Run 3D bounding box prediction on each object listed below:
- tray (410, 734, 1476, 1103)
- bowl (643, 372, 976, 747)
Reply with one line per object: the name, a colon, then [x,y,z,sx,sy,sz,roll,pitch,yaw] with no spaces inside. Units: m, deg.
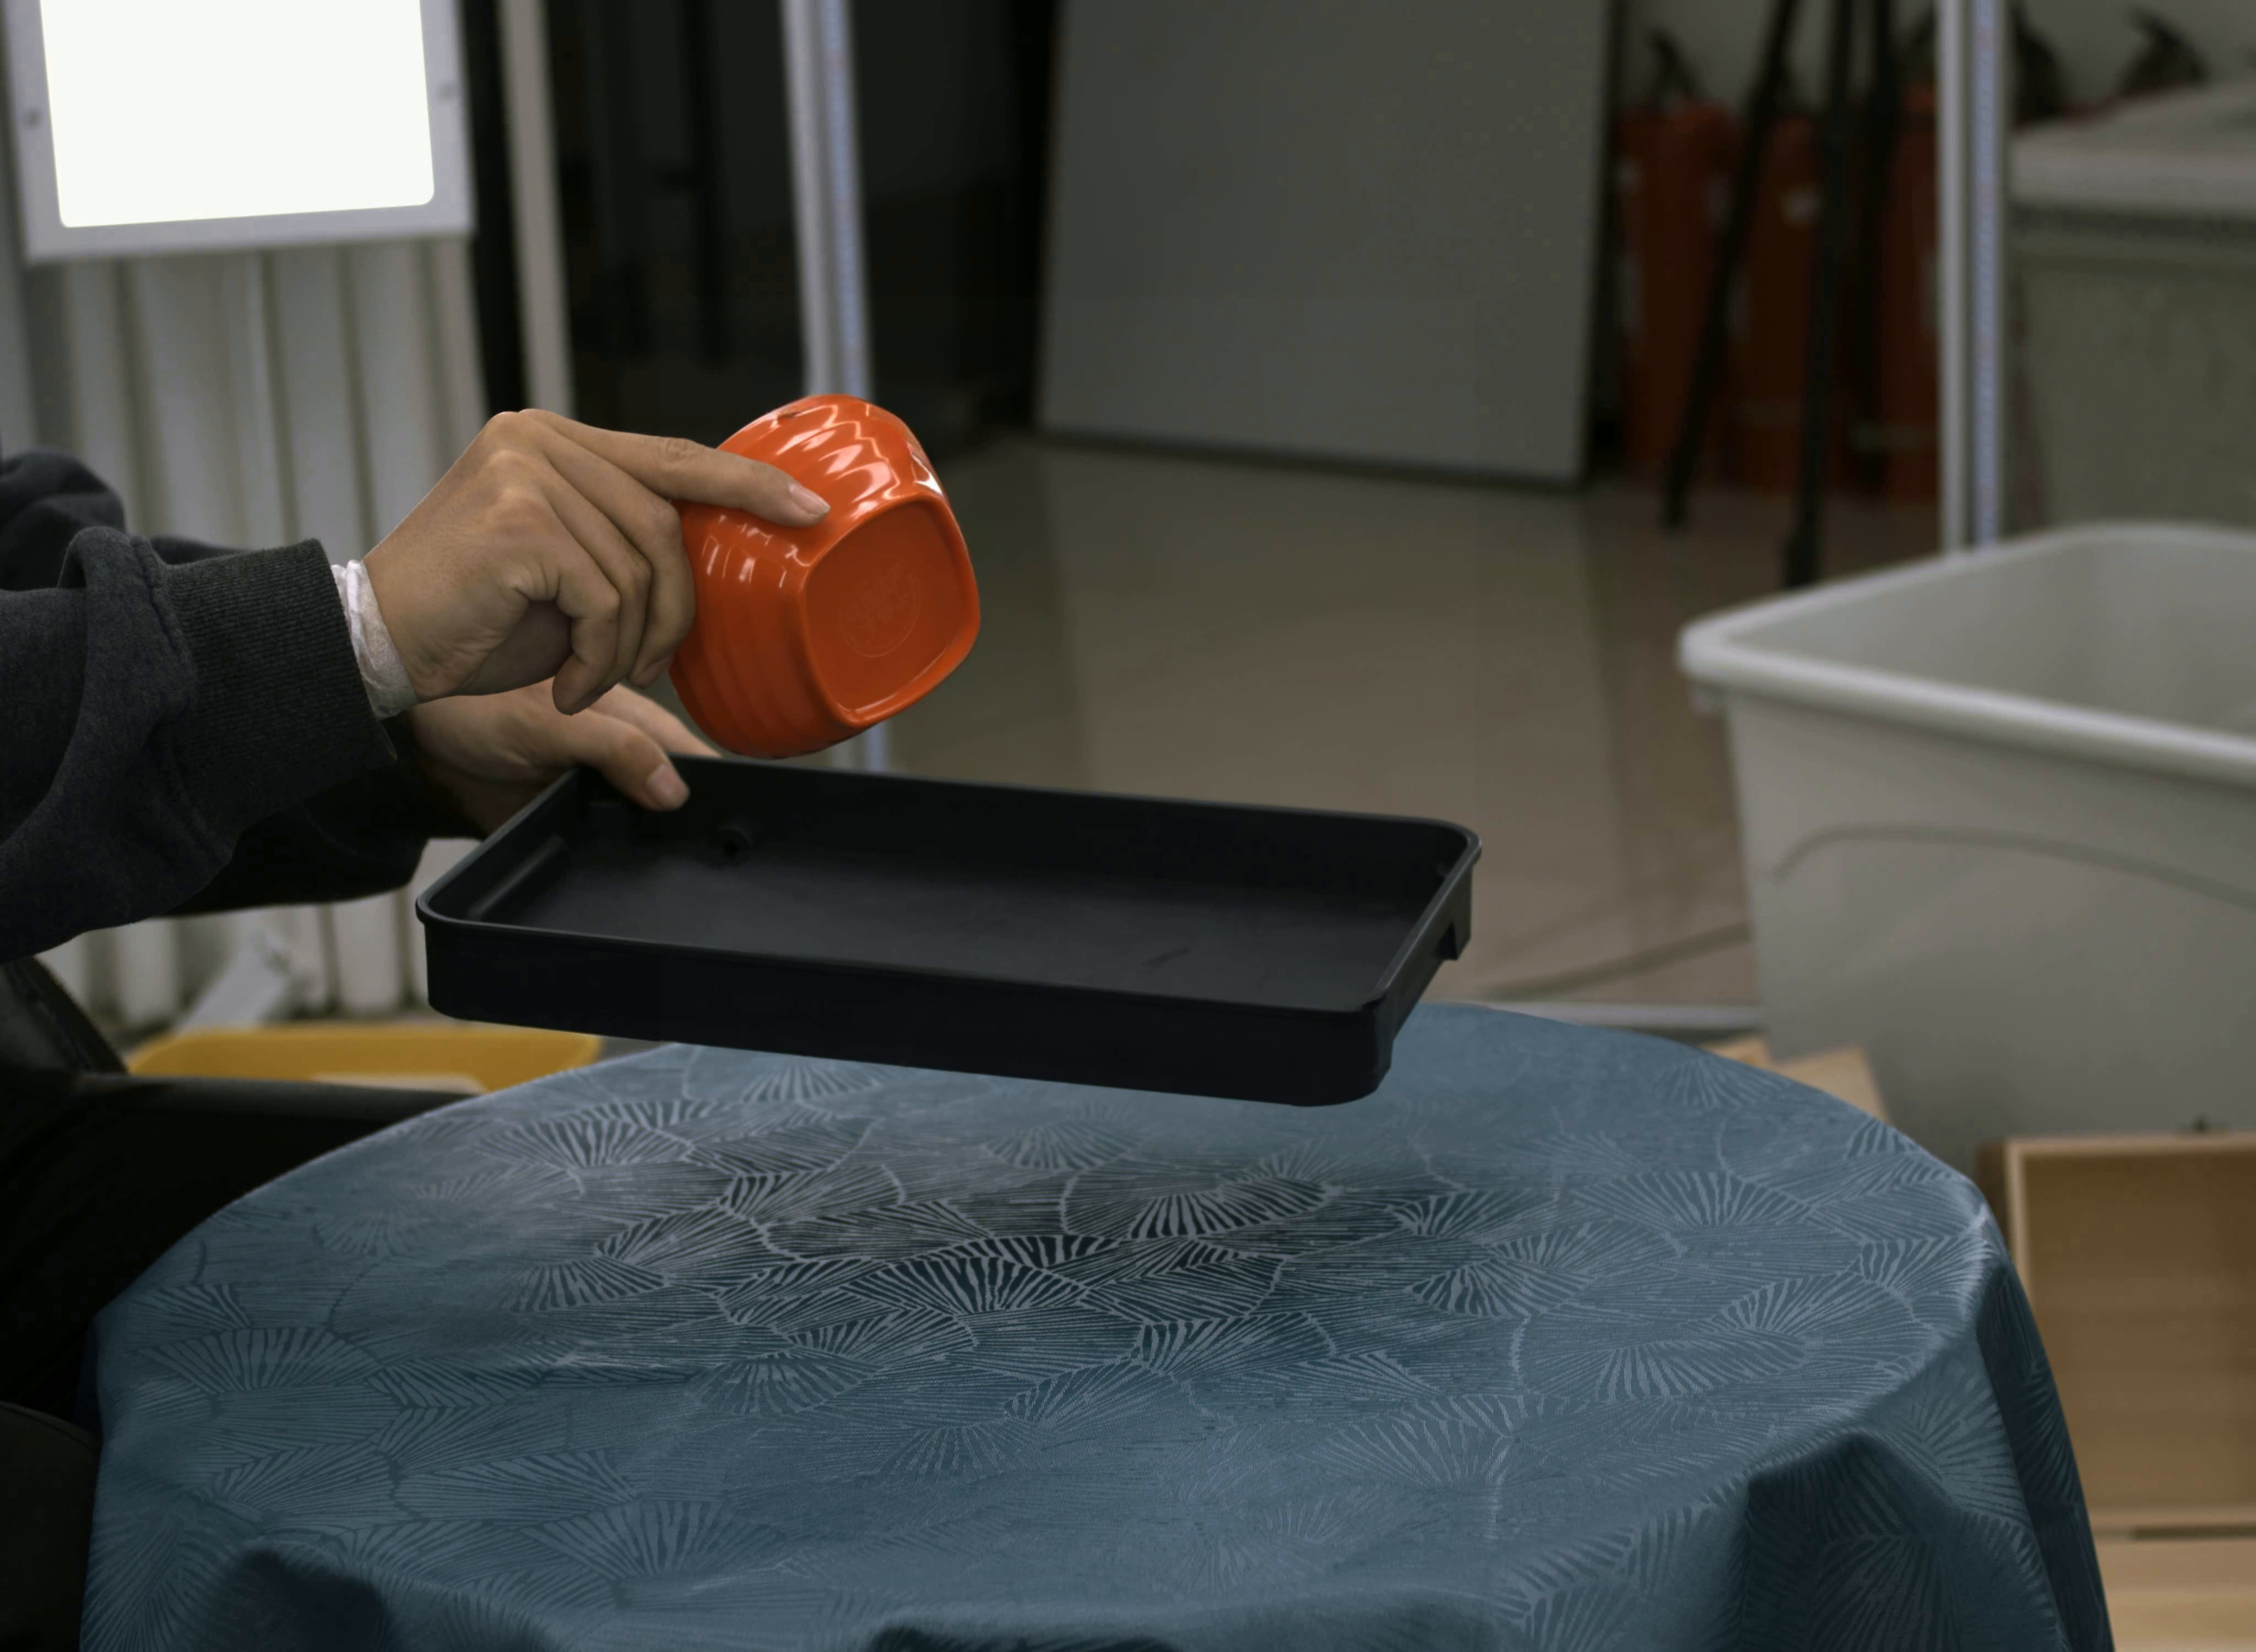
tray: [-0.056,0.027,1.734,0.317,0.037,0.183,6,19,15]
bowl: [-0.089,-0.076,1.665,0.116,0.120,0.052,-14,25,-38]
